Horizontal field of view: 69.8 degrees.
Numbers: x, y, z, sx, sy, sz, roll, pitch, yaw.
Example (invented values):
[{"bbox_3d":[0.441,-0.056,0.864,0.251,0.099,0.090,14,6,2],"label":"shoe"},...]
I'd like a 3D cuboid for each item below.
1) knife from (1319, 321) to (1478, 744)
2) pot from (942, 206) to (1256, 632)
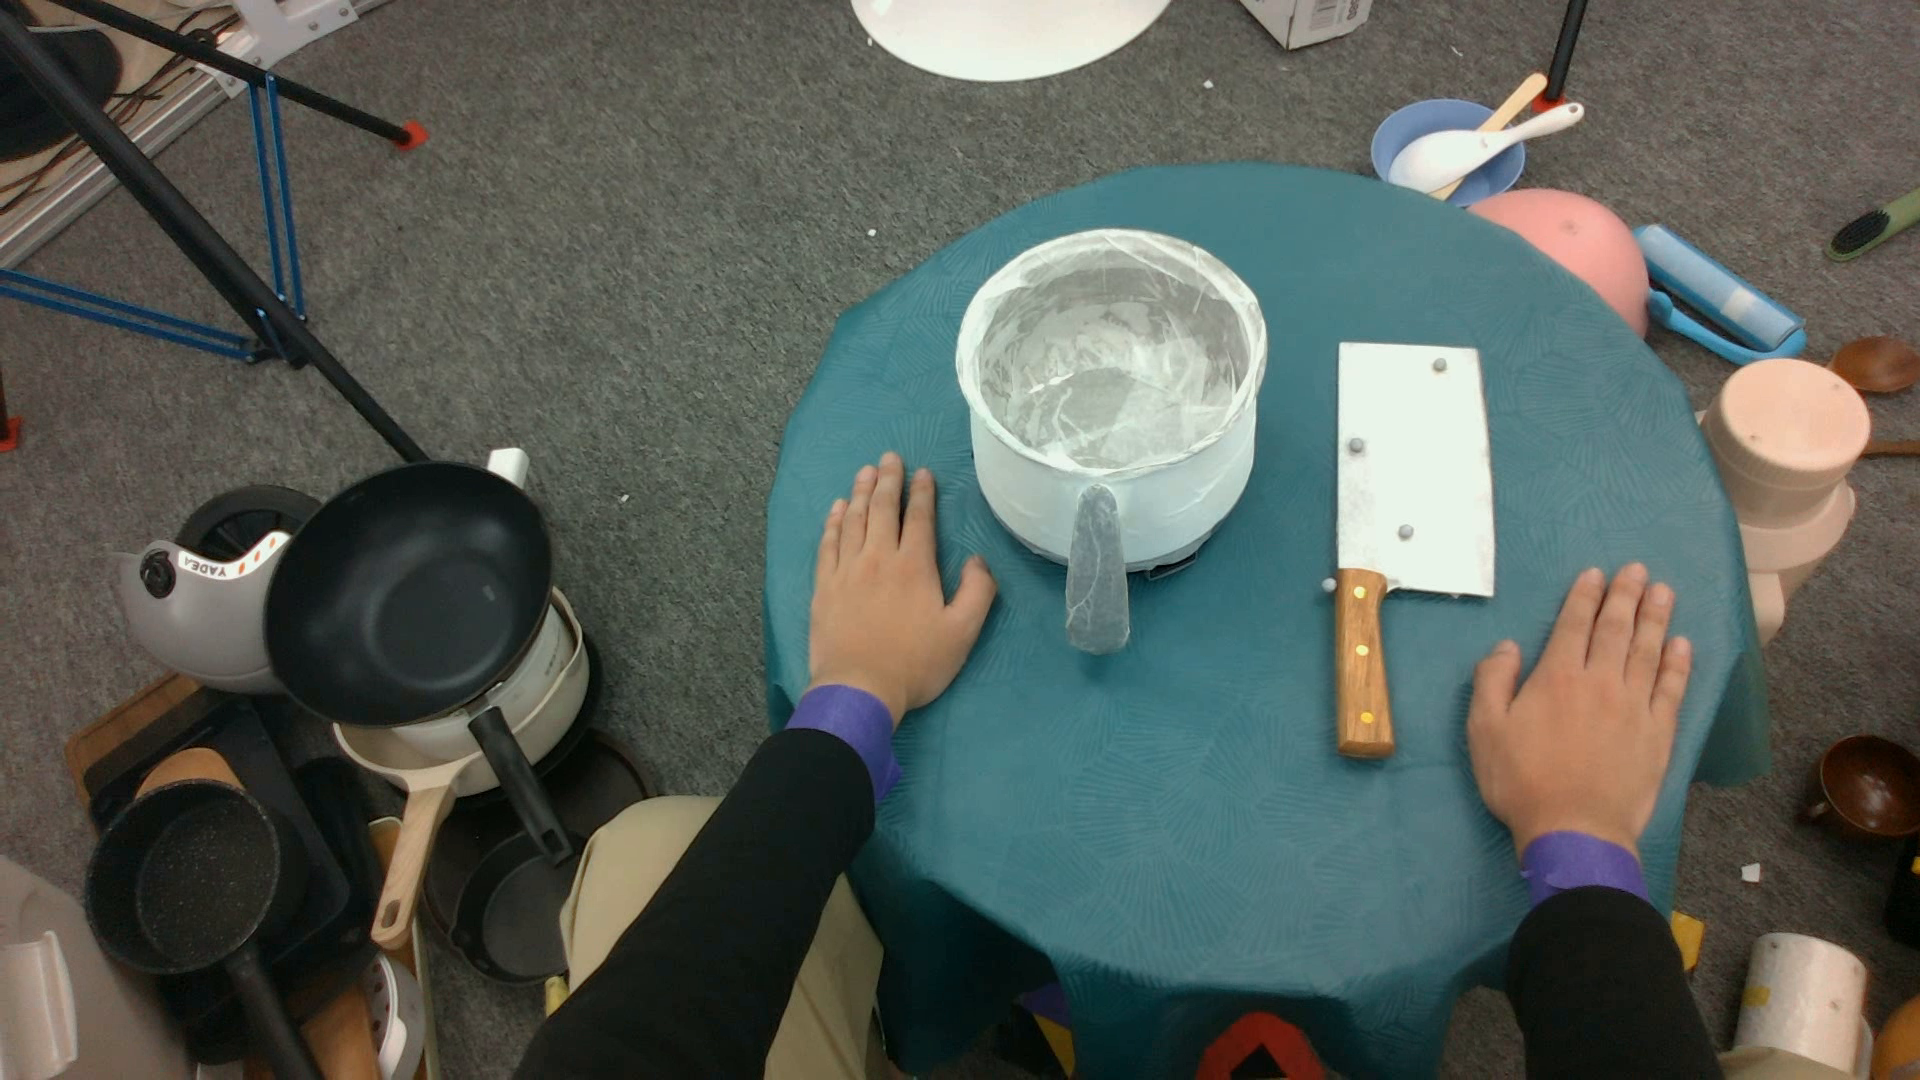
[{"bbox_3d":[0.267,-0.016,0.842,0.093,0.021,0.307,4,59,9],"label":"knife"},{"bbox_3d":[0.082,-0.069,0.821,0.178,0.136,0.234,1,59,8],"label":"pot"}]
